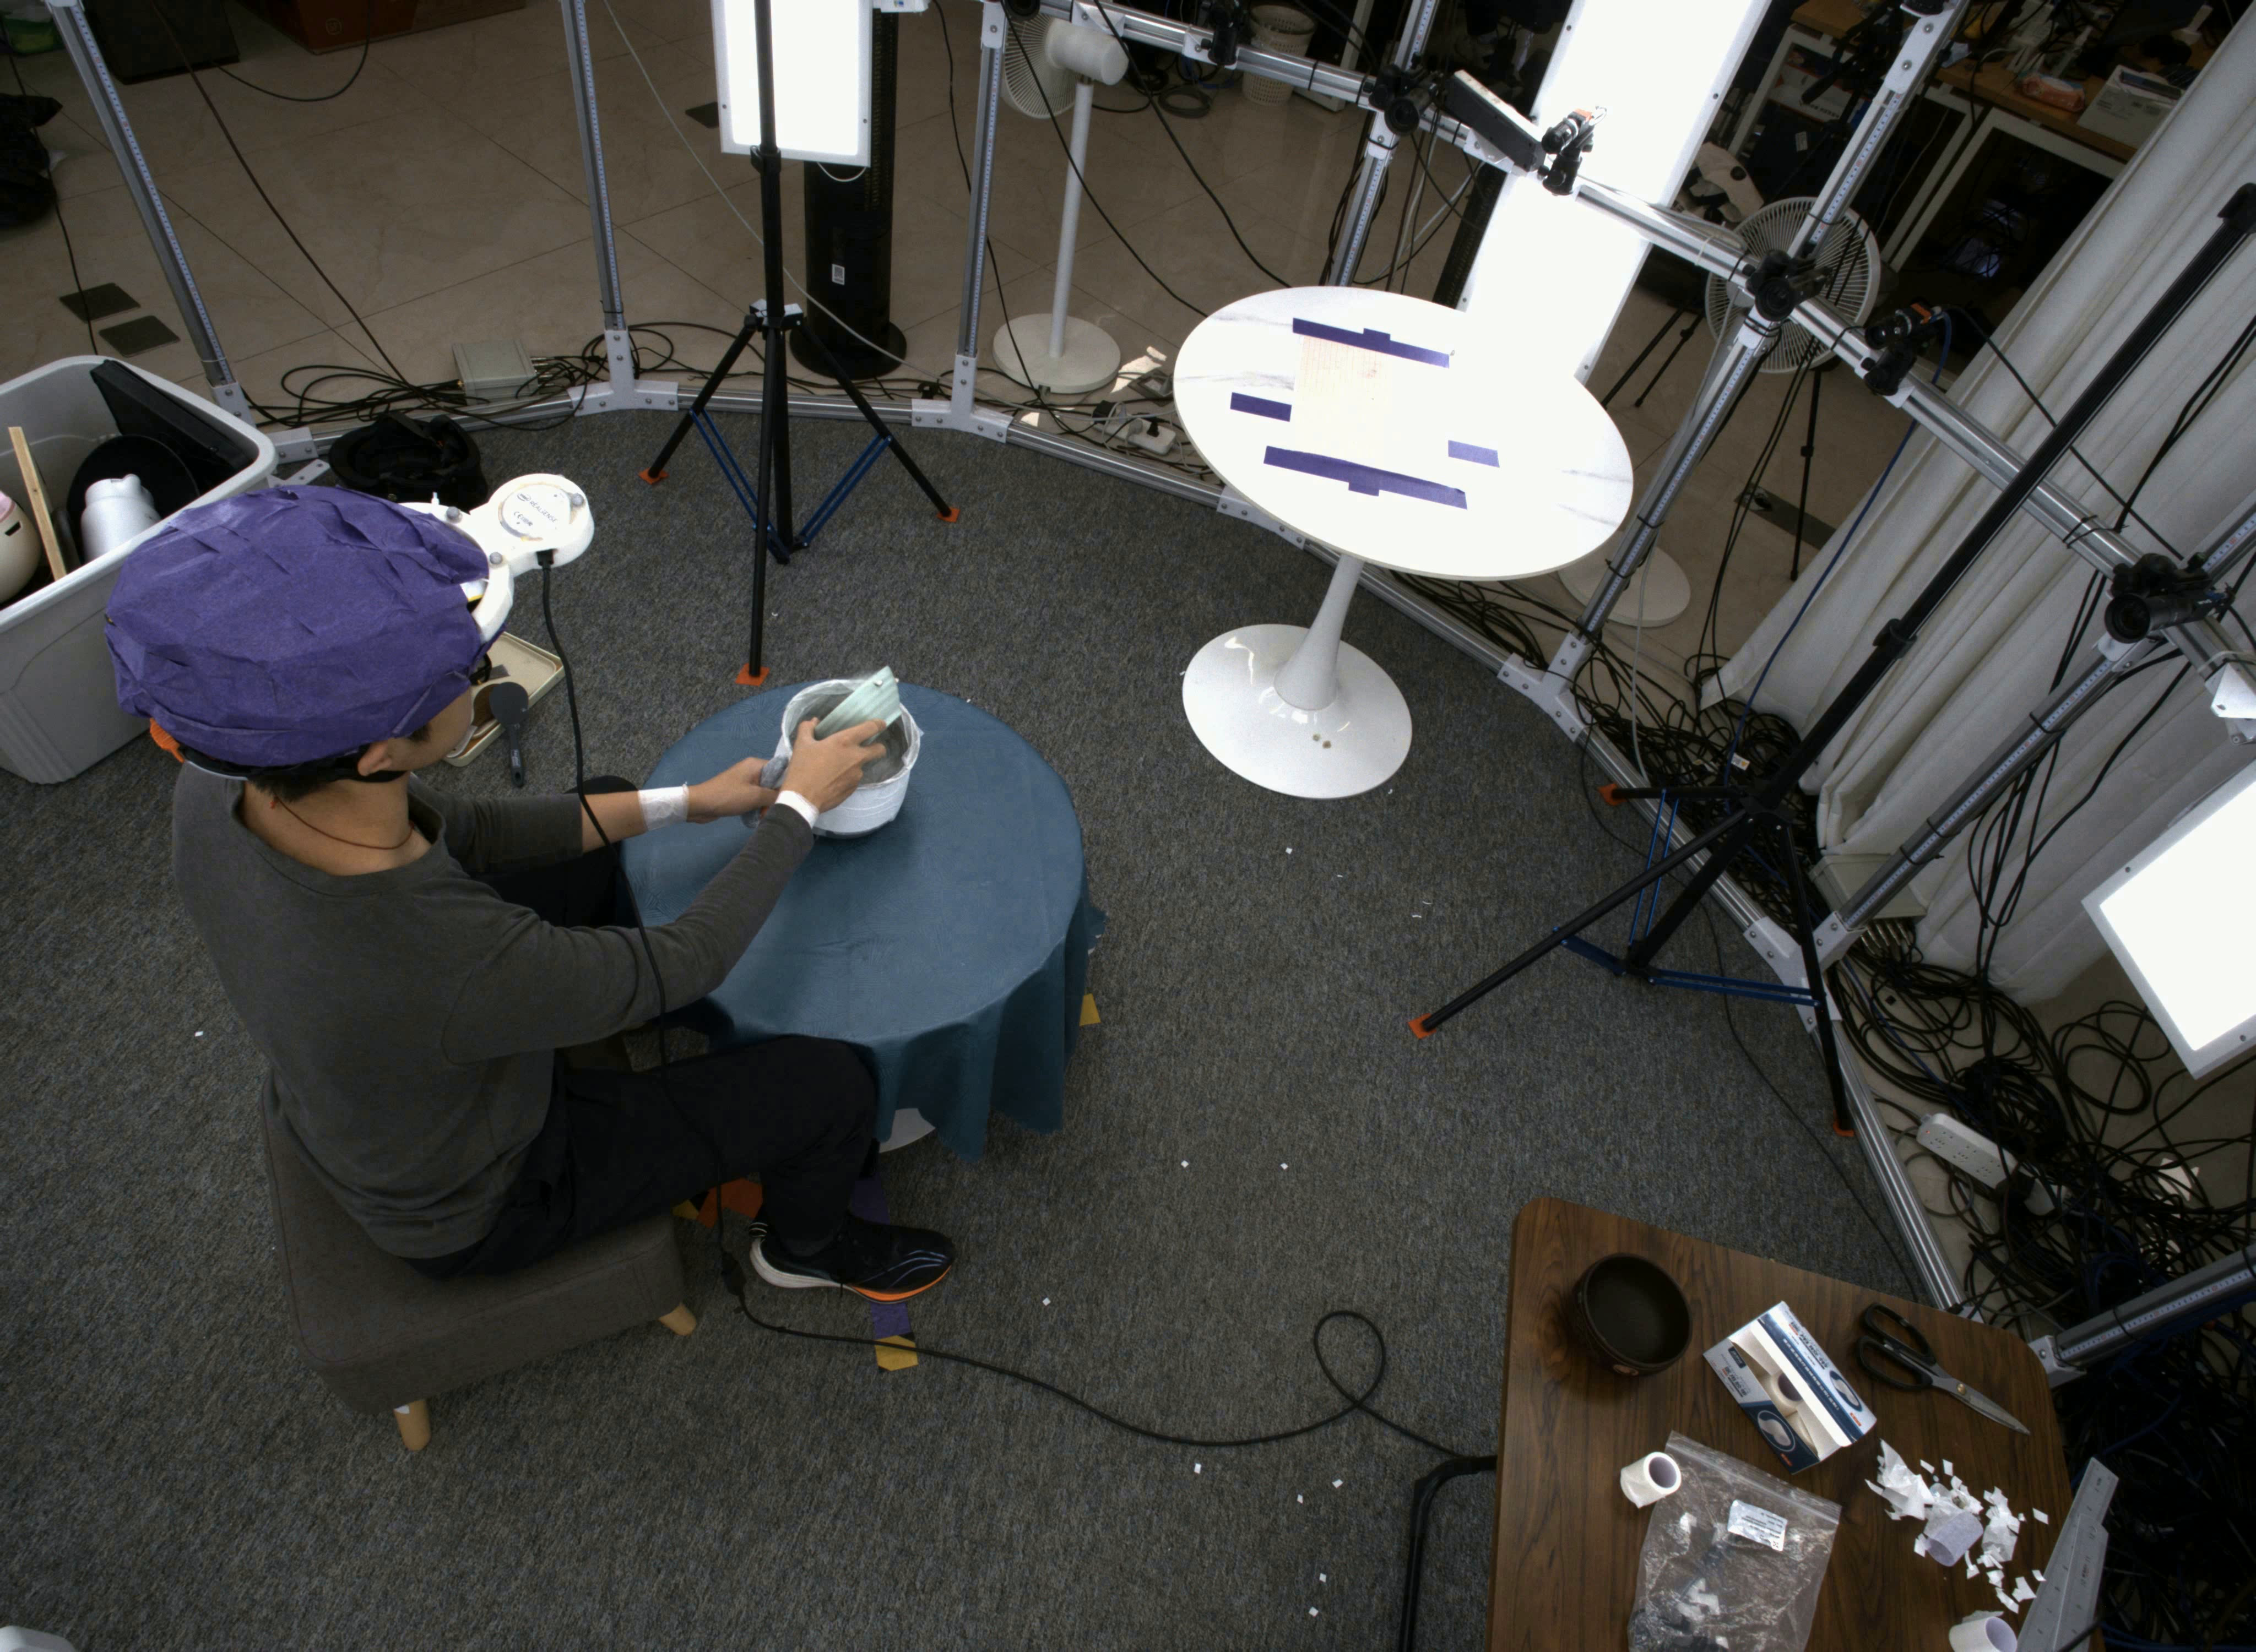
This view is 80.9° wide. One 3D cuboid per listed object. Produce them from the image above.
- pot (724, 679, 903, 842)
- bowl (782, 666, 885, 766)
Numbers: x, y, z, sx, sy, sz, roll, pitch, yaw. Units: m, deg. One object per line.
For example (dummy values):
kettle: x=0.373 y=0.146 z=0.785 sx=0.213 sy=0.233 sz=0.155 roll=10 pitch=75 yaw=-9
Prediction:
pot: x=-0.413 y=-0.072 z=1.686 sx=0.235 sy=0.138 sz=0.176 roll=-30 pitch=71 yaw=-37
bowl: x=-0.364 y=-0.131 z=1.647 sx=0.059 sy=0.149 sz=0.151 roll=48 pitch=53 yaw=-8
